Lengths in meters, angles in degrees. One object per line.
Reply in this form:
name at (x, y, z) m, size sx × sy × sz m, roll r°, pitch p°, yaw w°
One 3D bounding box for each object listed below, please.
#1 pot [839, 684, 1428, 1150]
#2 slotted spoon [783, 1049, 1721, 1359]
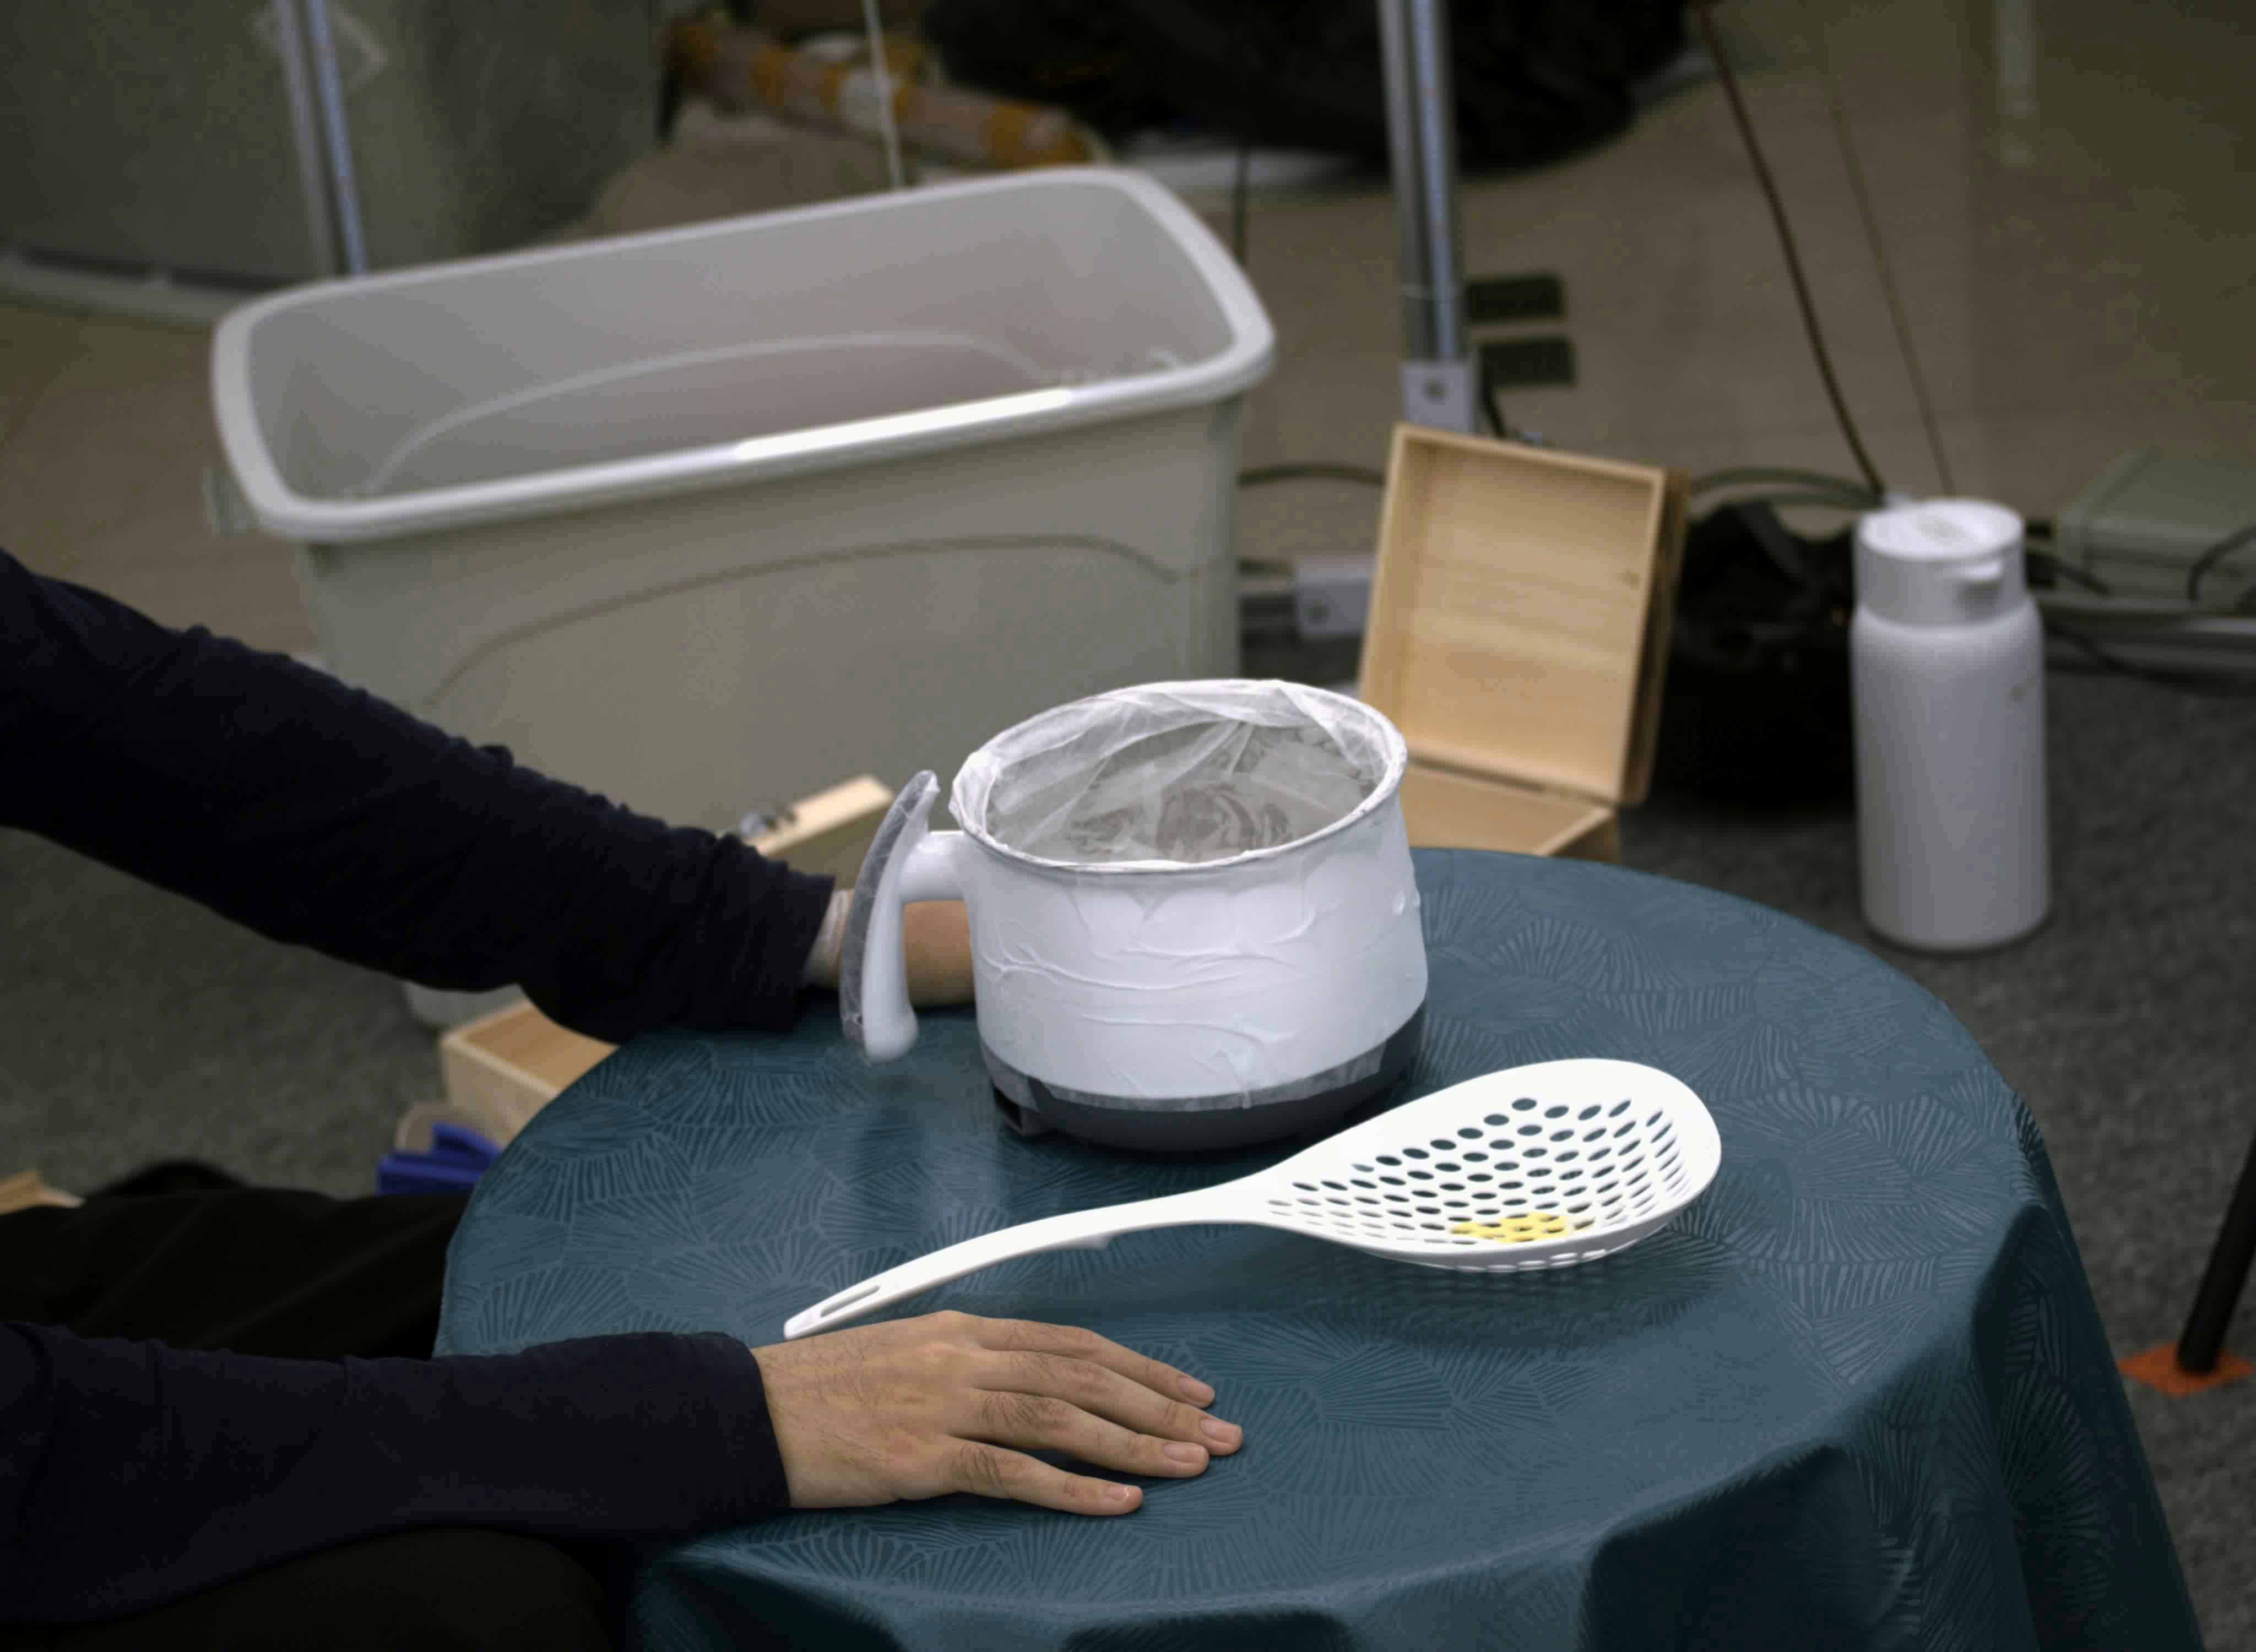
pot at (-0.001, 0.038, 2.205) m, size 0.233 × 0.139 × 0.176 m, roll -3°, pitch 23°, yaw 7°
slotted spoon at (0.044, 0.147, 2.070) m, size 0.347 × 0.051 × 0.135 m, roll -7°, pitch 26°, yaw -2°
